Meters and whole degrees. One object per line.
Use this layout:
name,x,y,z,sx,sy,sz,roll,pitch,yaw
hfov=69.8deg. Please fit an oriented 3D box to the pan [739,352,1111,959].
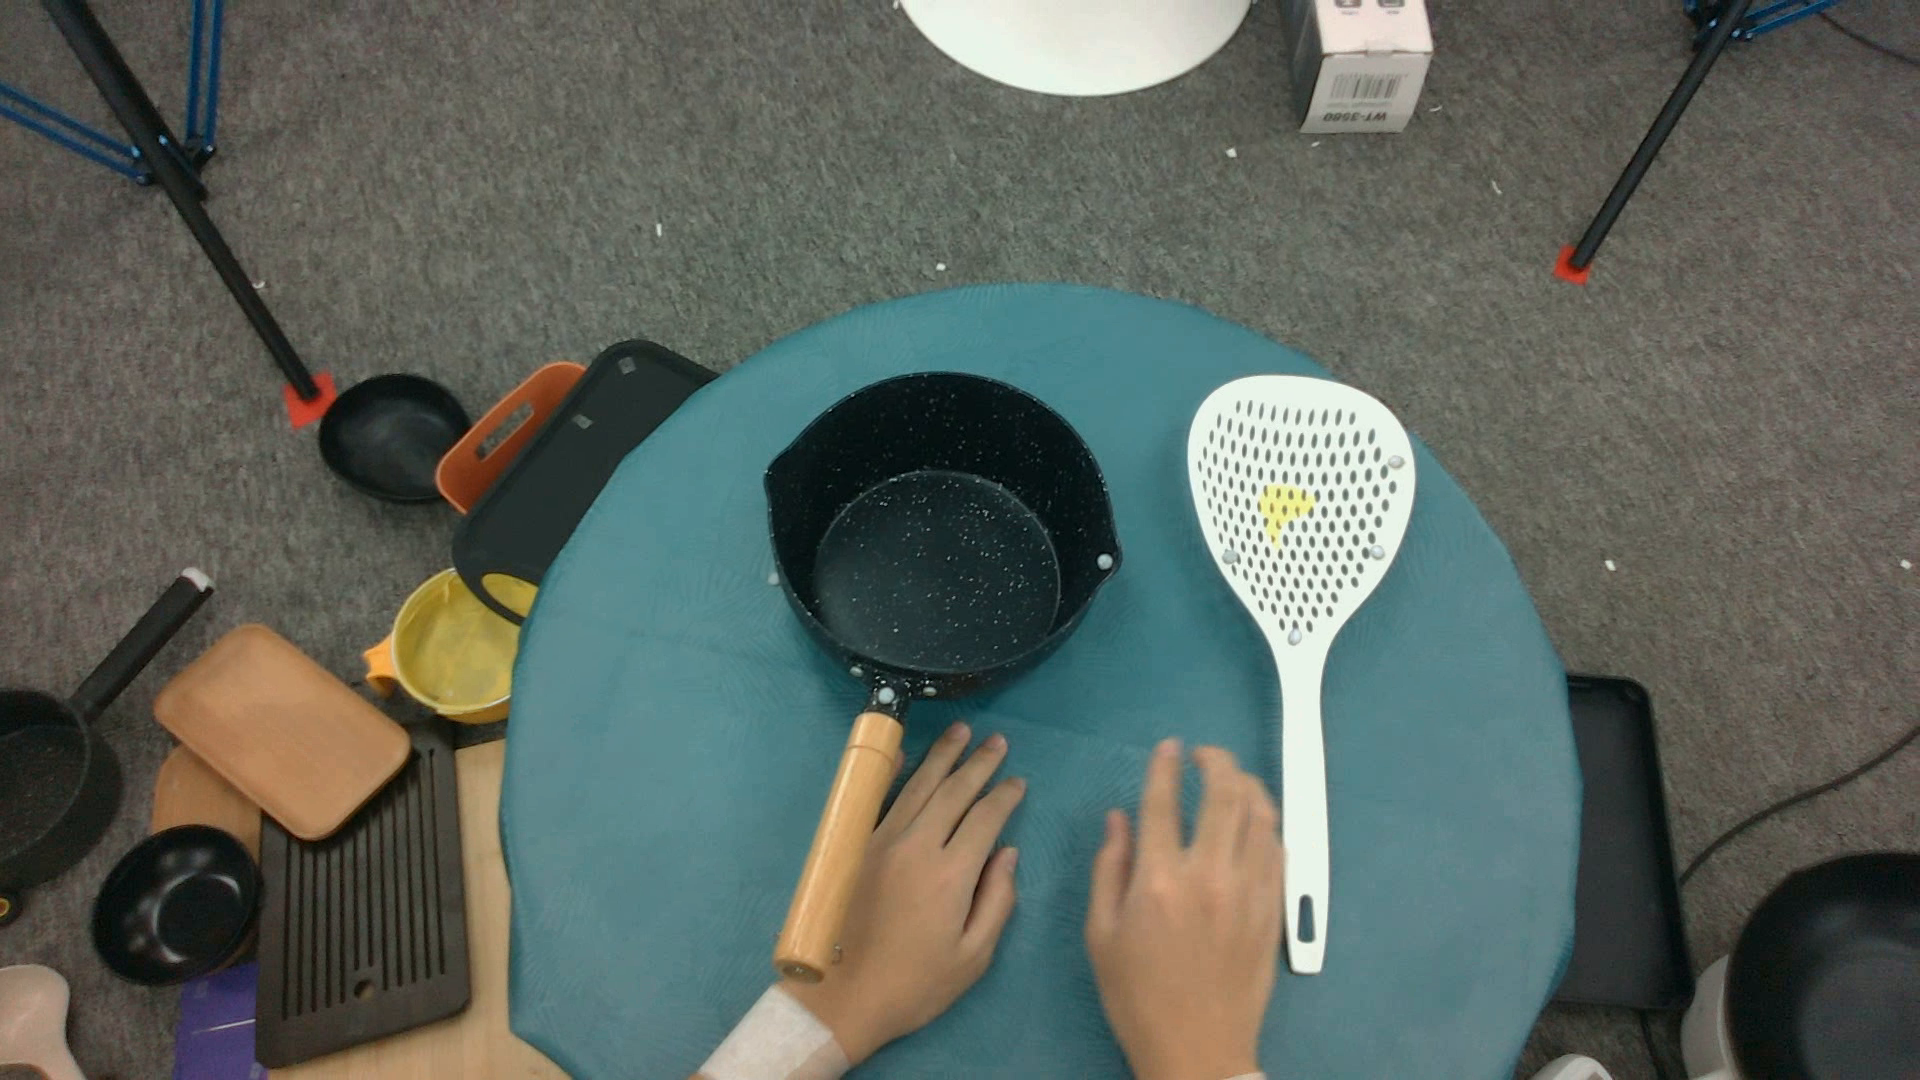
pan,-0.037,0.059,0.725,0.207,0.108,0.344,13,61,2

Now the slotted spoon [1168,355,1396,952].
slotted spoon,0.185,0.050,0.779,0.137,0.050,0.349,4,61,-3
